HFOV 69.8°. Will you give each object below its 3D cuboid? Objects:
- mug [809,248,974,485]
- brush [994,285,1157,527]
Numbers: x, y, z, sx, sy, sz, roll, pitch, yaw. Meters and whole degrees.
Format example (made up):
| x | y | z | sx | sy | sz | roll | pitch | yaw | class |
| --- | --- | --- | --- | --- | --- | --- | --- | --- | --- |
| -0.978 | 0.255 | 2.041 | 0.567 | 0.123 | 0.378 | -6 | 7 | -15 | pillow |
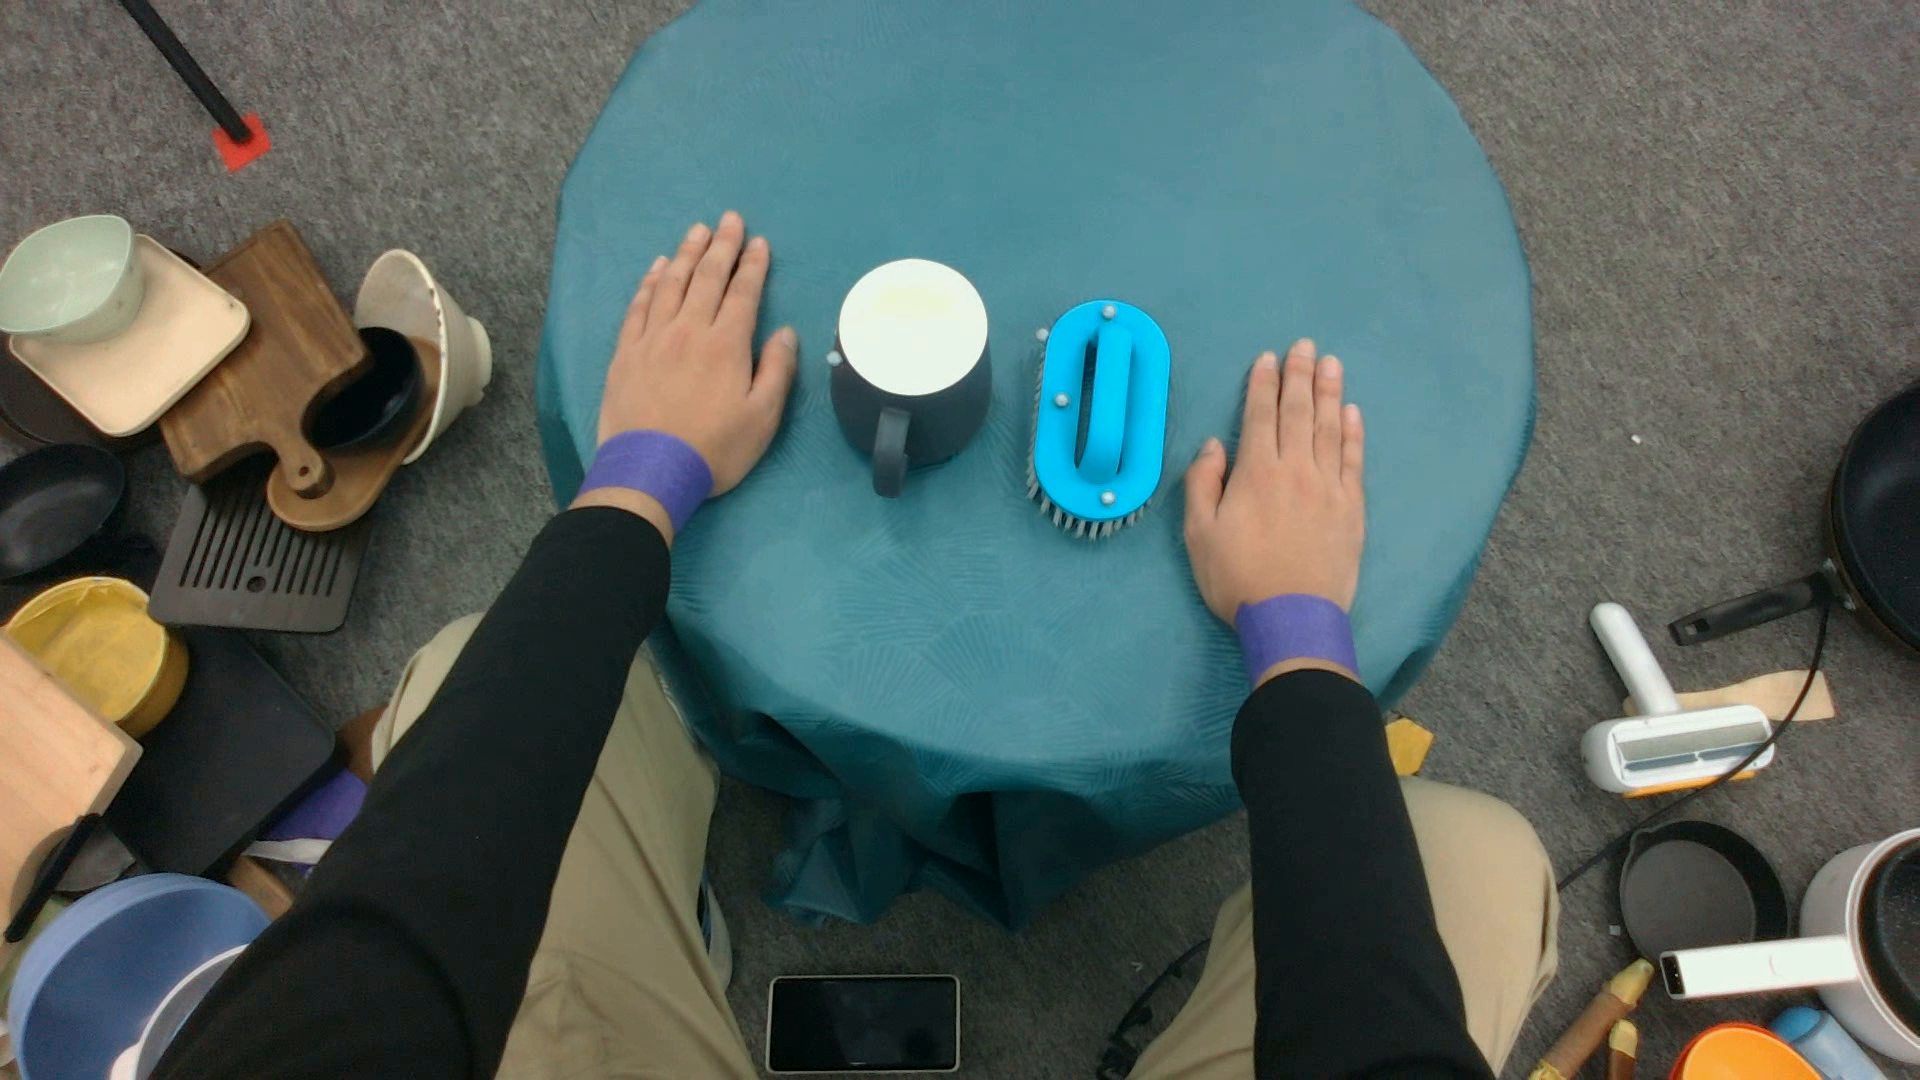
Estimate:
| x | y | z | sx | sy | sz | roll | pitch | yaw | class |
| --- | --- | --- | --- | --- | --- | --- | --- | --- | --- |
| -0.041 | -0.090 | 0.757 | 0.093 | 0.089 | 0.123 | 12 | 68 | 1 | mug |
| 0.069 | -0.082 | 0.778 | 0.084 | 0.063 | 0.142 | 10 | 71 | -5 | brush |
